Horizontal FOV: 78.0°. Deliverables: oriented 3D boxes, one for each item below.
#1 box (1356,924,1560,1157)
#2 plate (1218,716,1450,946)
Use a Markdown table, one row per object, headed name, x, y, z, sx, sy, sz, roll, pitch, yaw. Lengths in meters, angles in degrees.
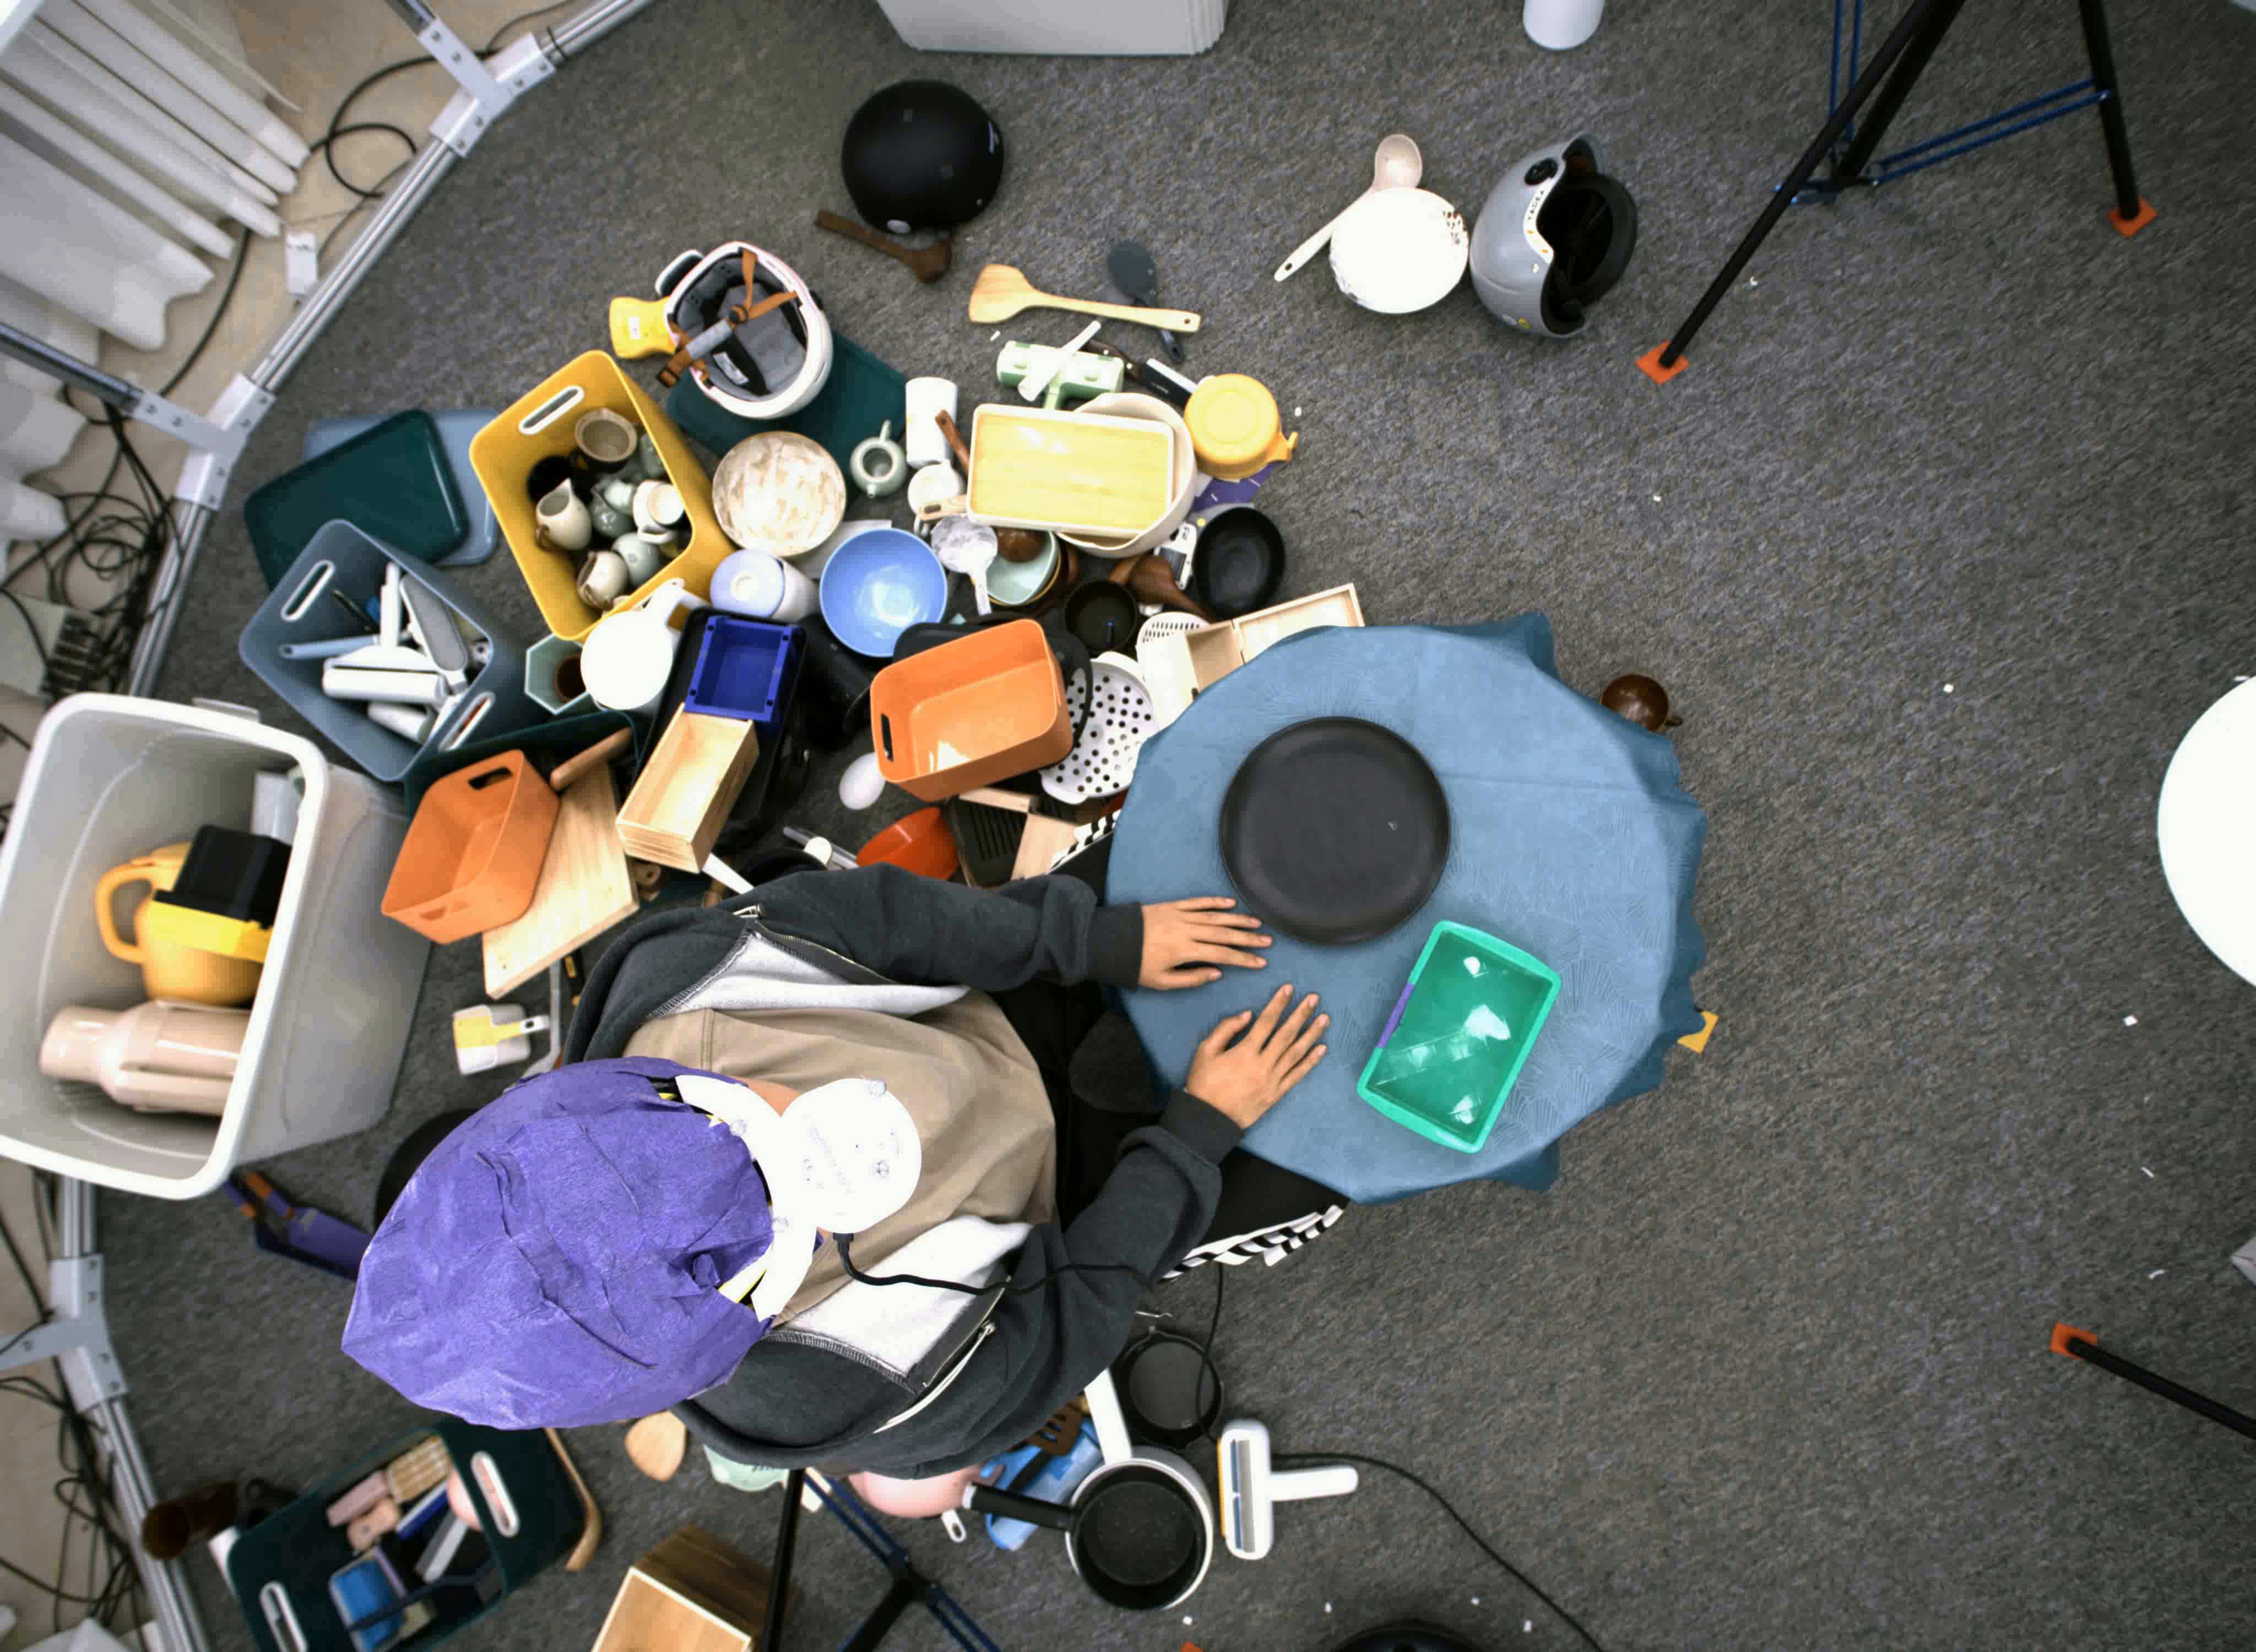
| name | x | y | z | sx | sy | sz | roll | pitch | yaw |
| --- | --- | --- | --- | --- | --- | --- | --- | --- | --- |
| box | 0.335 | 0.214 | 1.407 | 0.138 | 0.065 | 0.211 | 25 | 93 | 13 |
| plate | 0.216 | 0.004 | 1.461 | 0.245 | 0.023 | 0.243 | -1 | 87 | 10 |
